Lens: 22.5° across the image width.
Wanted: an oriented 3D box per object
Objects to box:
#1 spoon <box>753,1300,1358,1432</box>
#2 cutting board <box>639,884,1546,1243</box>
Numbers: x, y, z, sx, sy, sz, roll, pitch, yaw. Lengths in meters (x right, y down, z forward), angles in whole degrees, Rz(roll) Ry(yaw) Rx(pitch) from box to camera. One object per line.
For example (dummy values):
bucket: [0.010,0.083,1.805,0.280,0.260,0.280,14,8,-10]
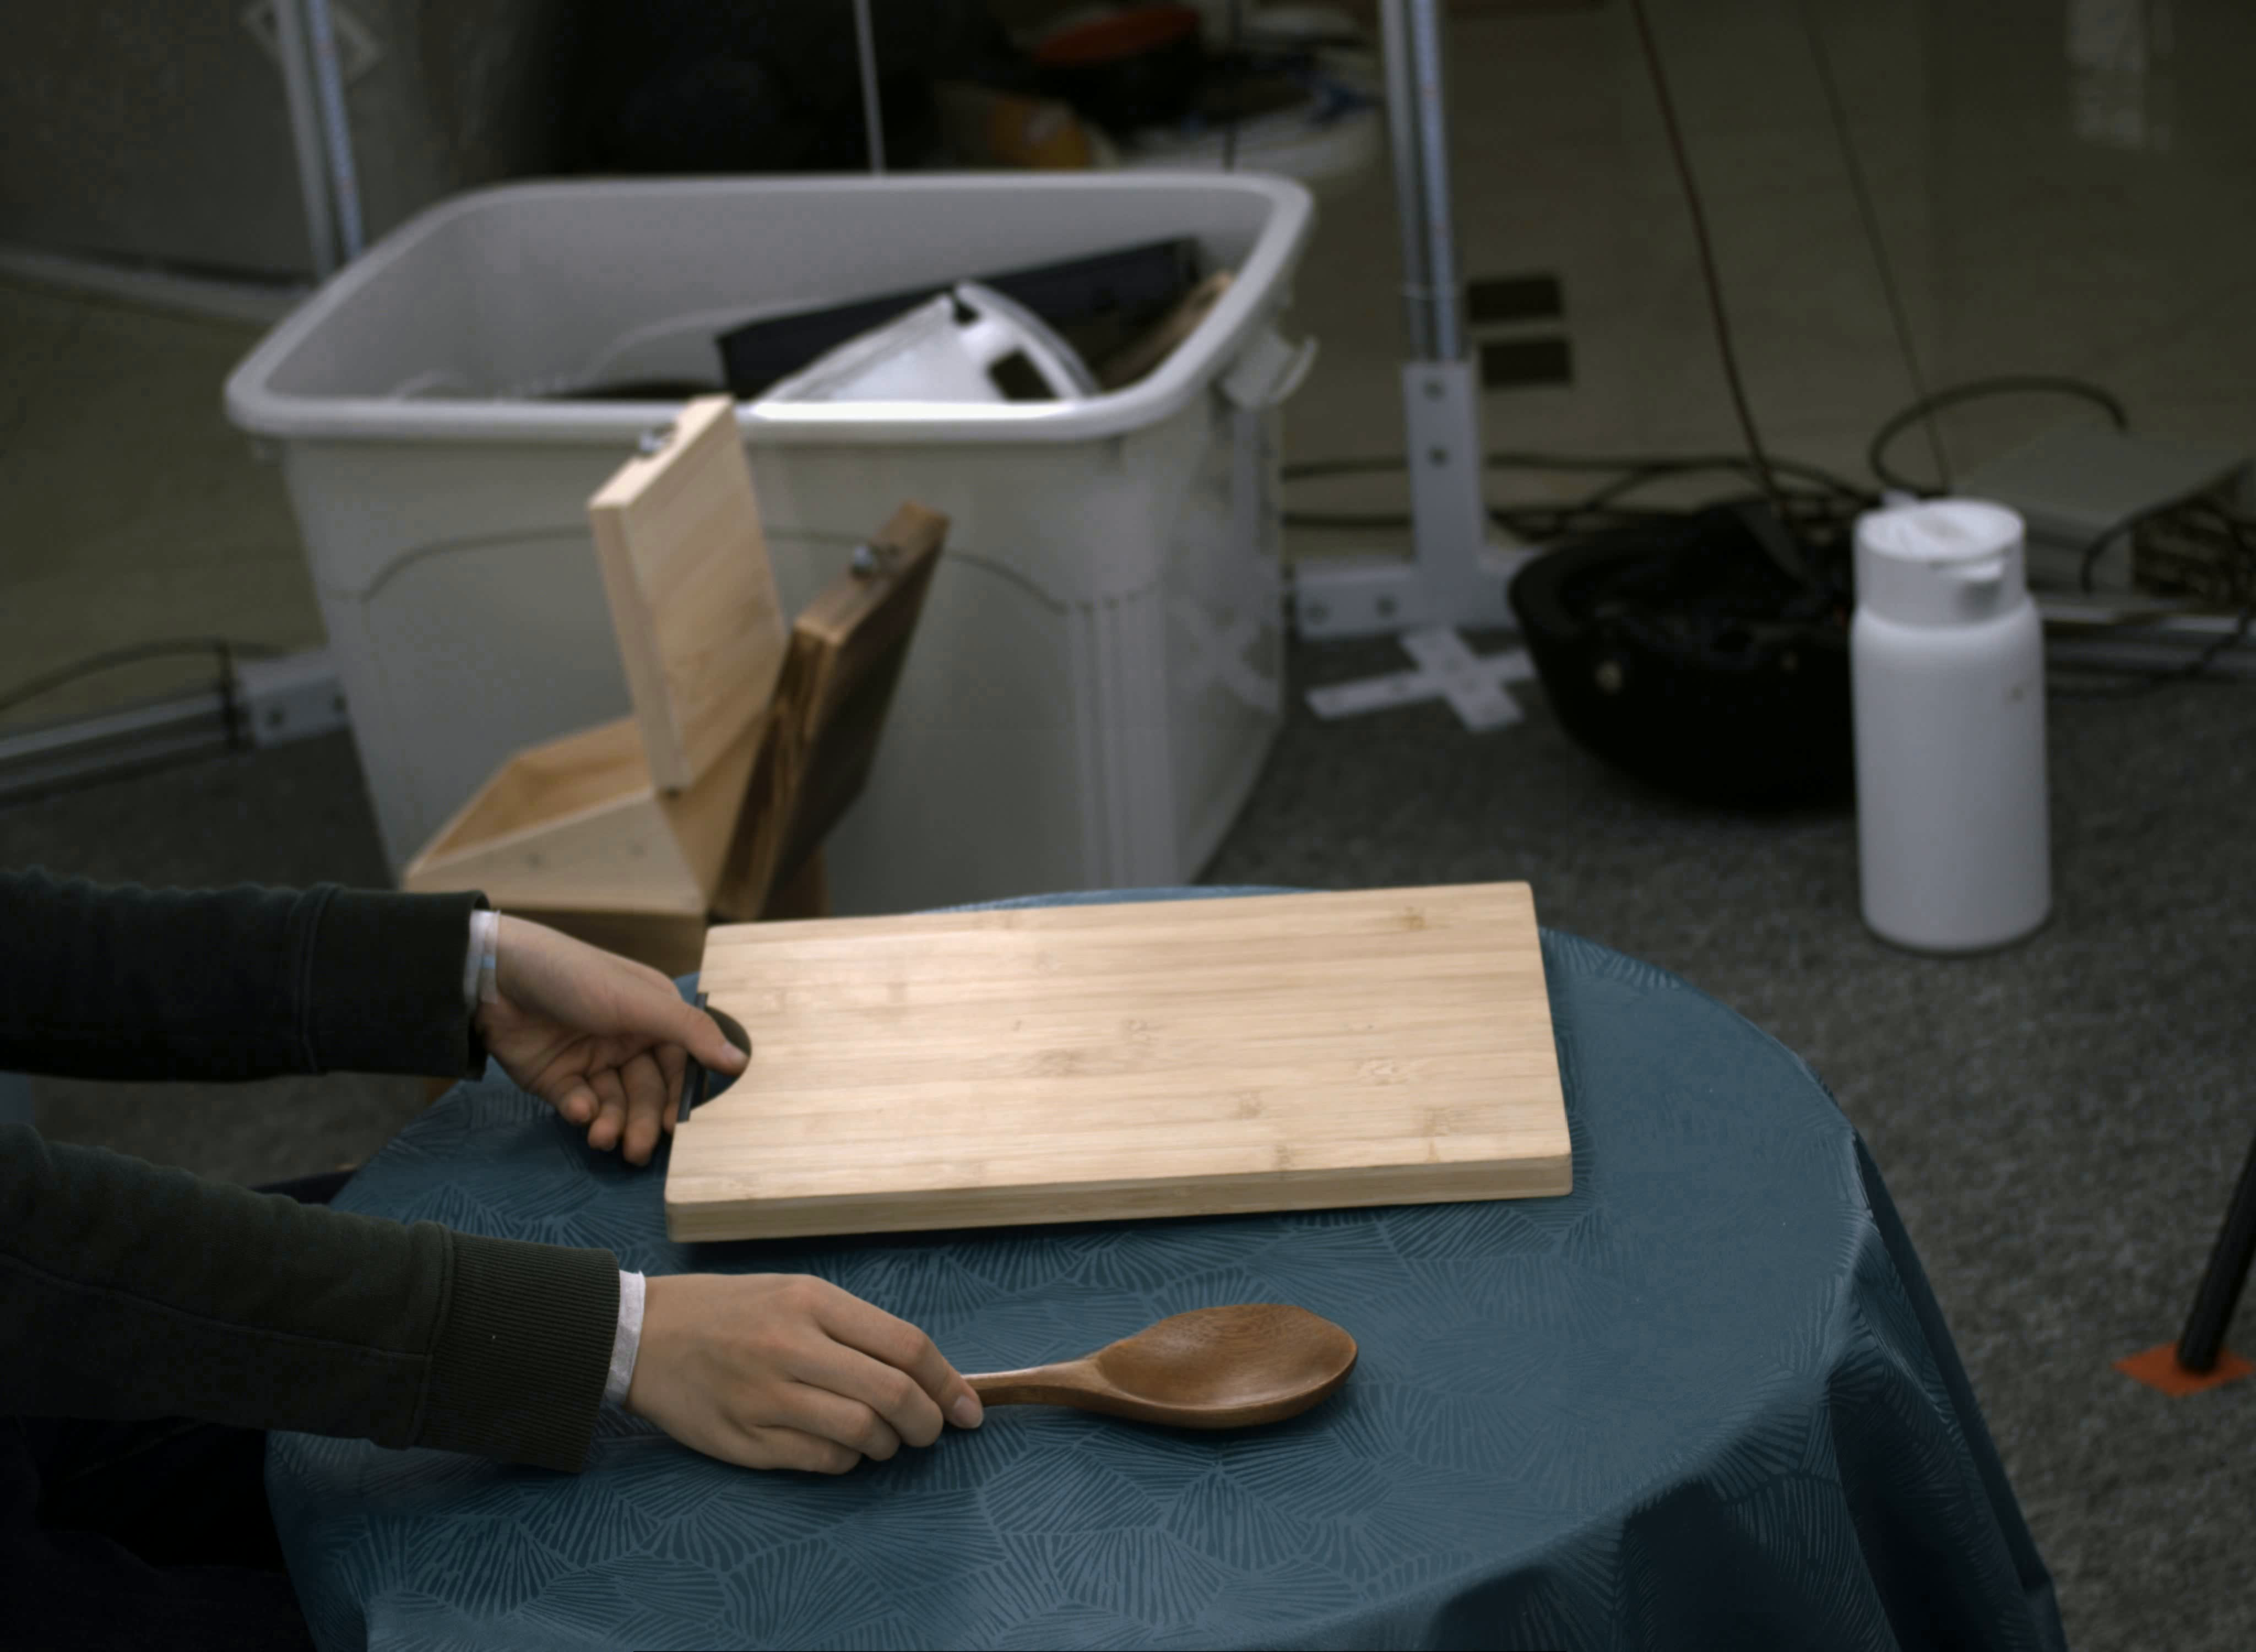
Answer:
spoon: [-0.026,0.198,2.011,0.215,0.017,0.074,-4,28,3]
cutting board: [-0.010,0.091,2.223,0.348,0.024,0.247,-3,24,1]
